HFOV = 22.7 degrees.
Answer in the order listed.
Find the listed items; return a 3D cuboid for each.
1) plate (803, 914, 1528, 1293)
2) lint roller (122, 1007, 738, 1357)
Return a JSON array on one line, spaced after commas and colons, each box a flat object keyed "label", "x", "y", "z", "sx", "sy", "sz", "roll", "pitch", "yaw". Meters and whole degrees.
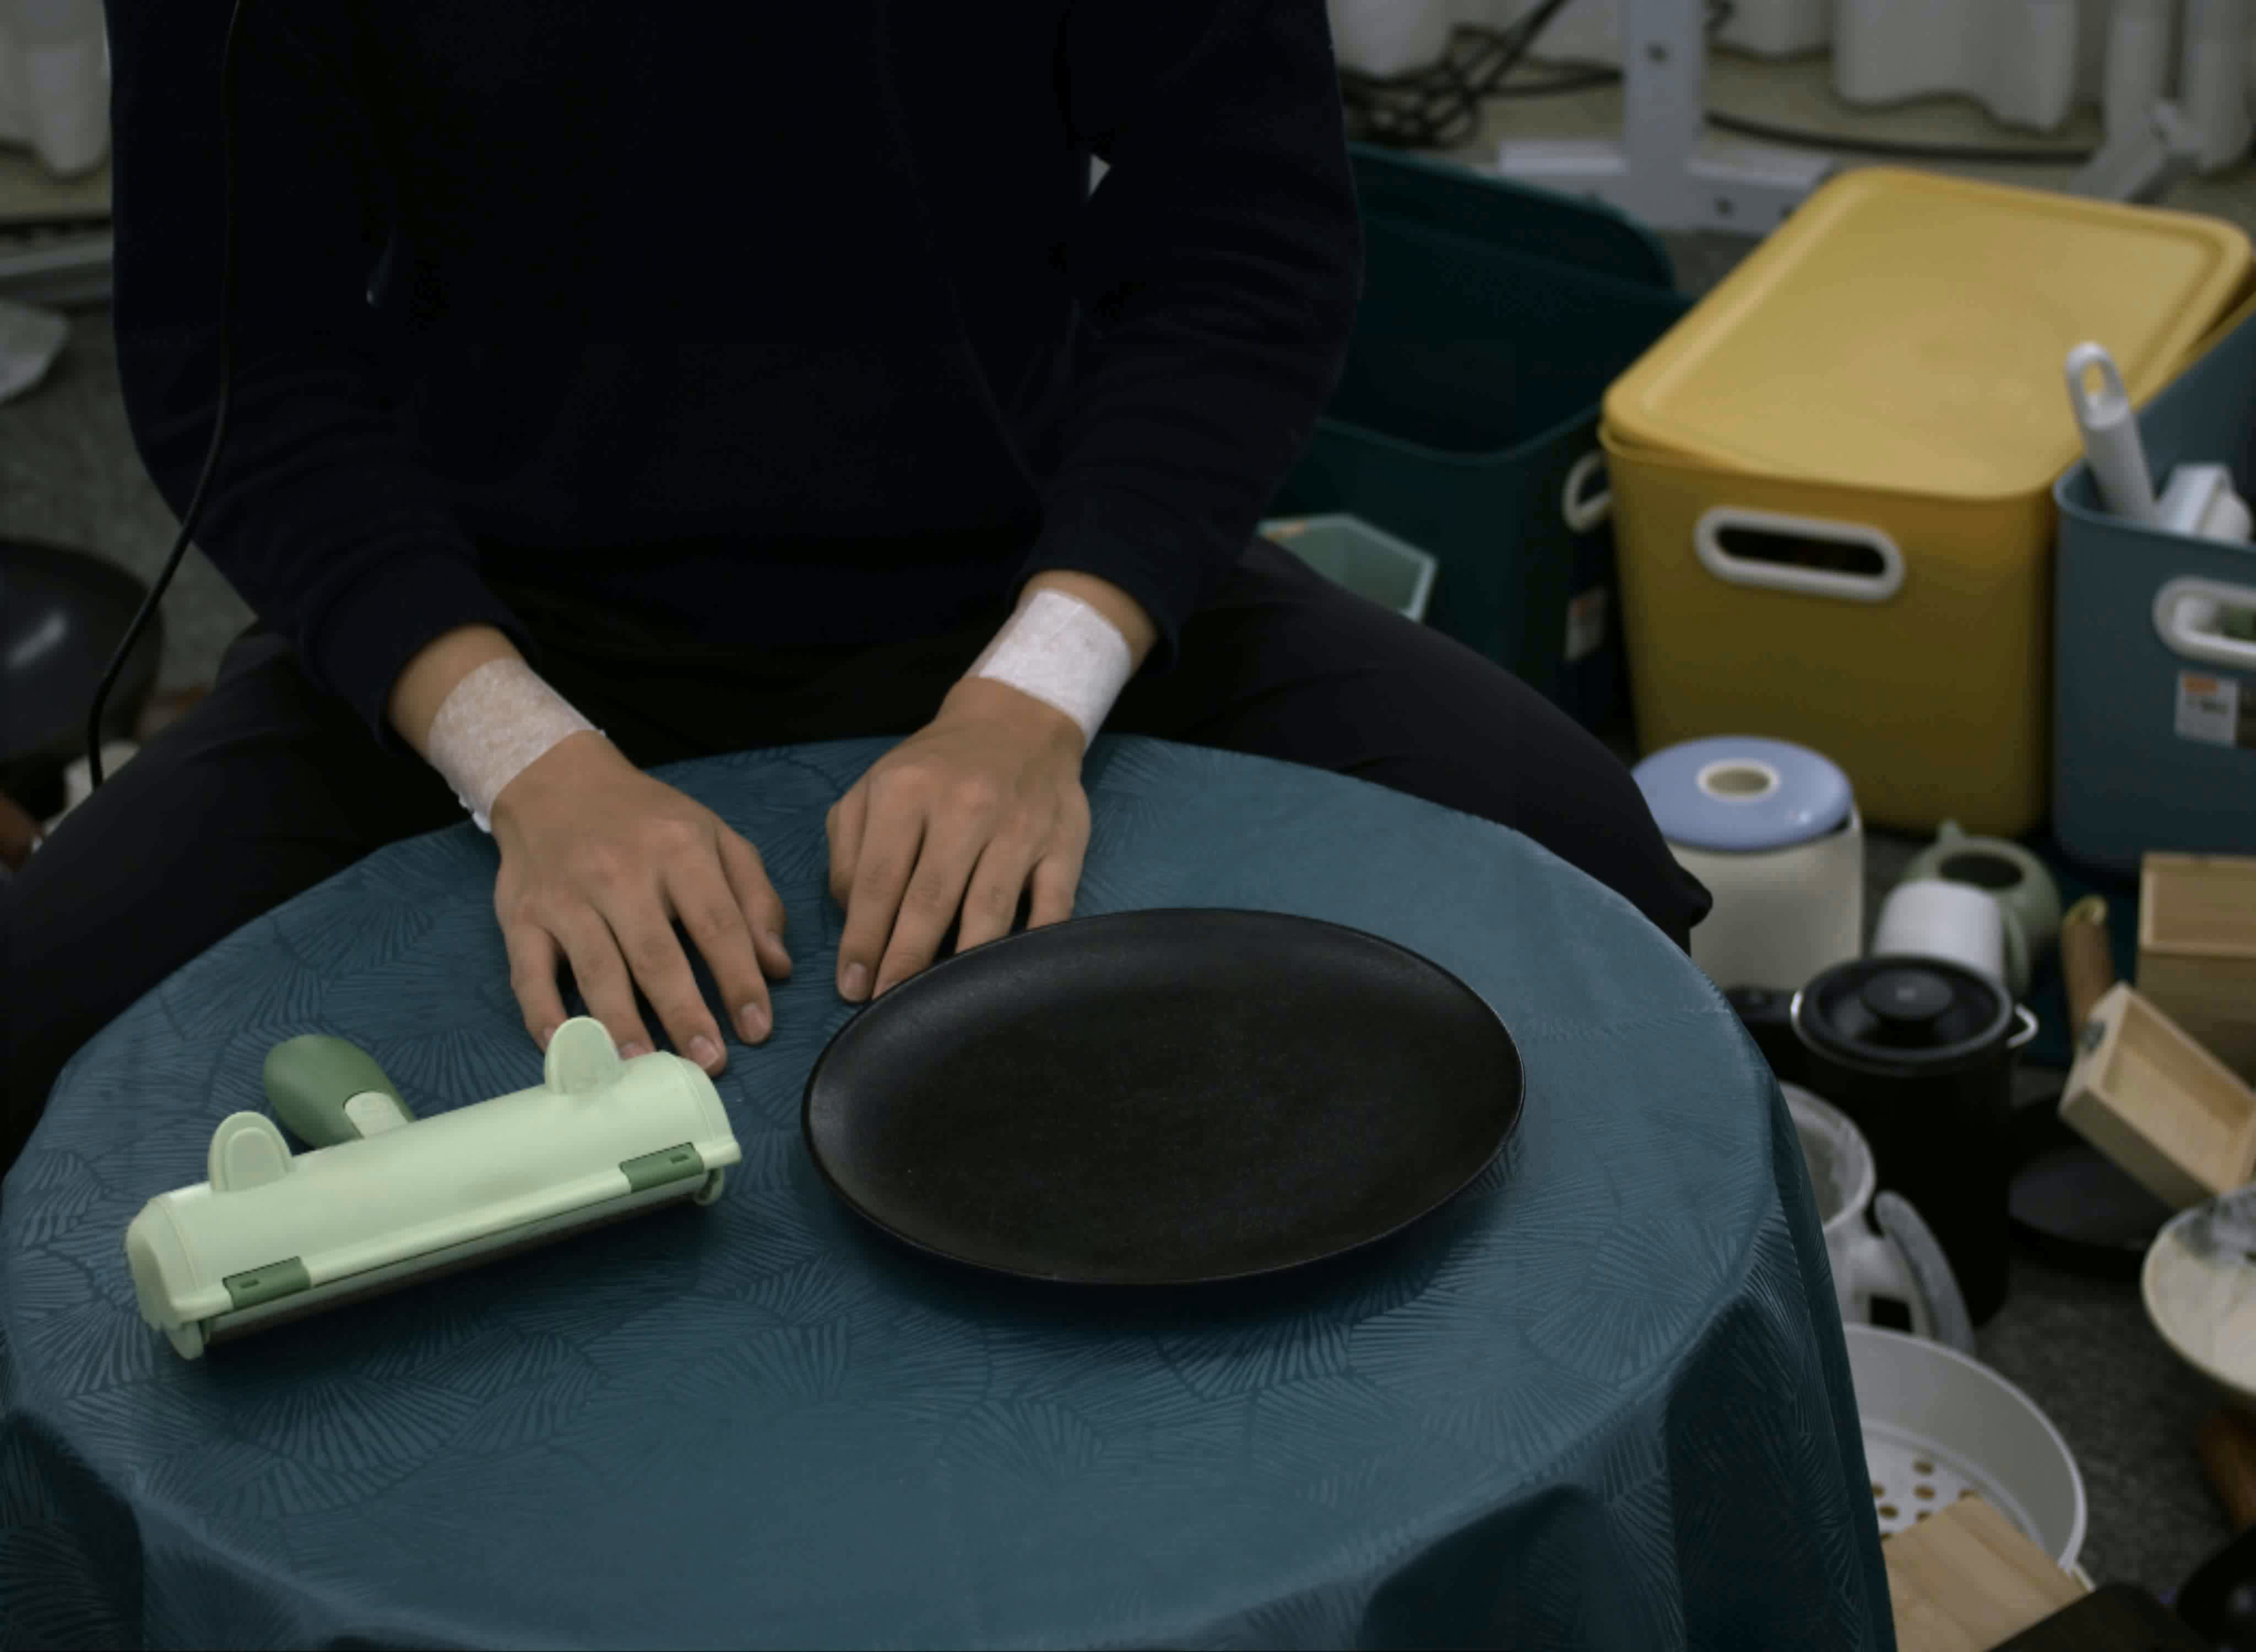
[{"label": "plate", "x": 0.012, "y": 0.097, "z": 1.883, "sx": 0.243, "sy": 0.023, "sz": 0.248, "roll": -2, "pitch": 27, "yaw": 2}, {"label": "lint roller", "x": -0.252, "y": 0.089, "z": 1.859, "sx": 0.199, "sy": 0.081, "sz": 0.185, "roll": -15, "pitch": 36, "yaw": -24}]
